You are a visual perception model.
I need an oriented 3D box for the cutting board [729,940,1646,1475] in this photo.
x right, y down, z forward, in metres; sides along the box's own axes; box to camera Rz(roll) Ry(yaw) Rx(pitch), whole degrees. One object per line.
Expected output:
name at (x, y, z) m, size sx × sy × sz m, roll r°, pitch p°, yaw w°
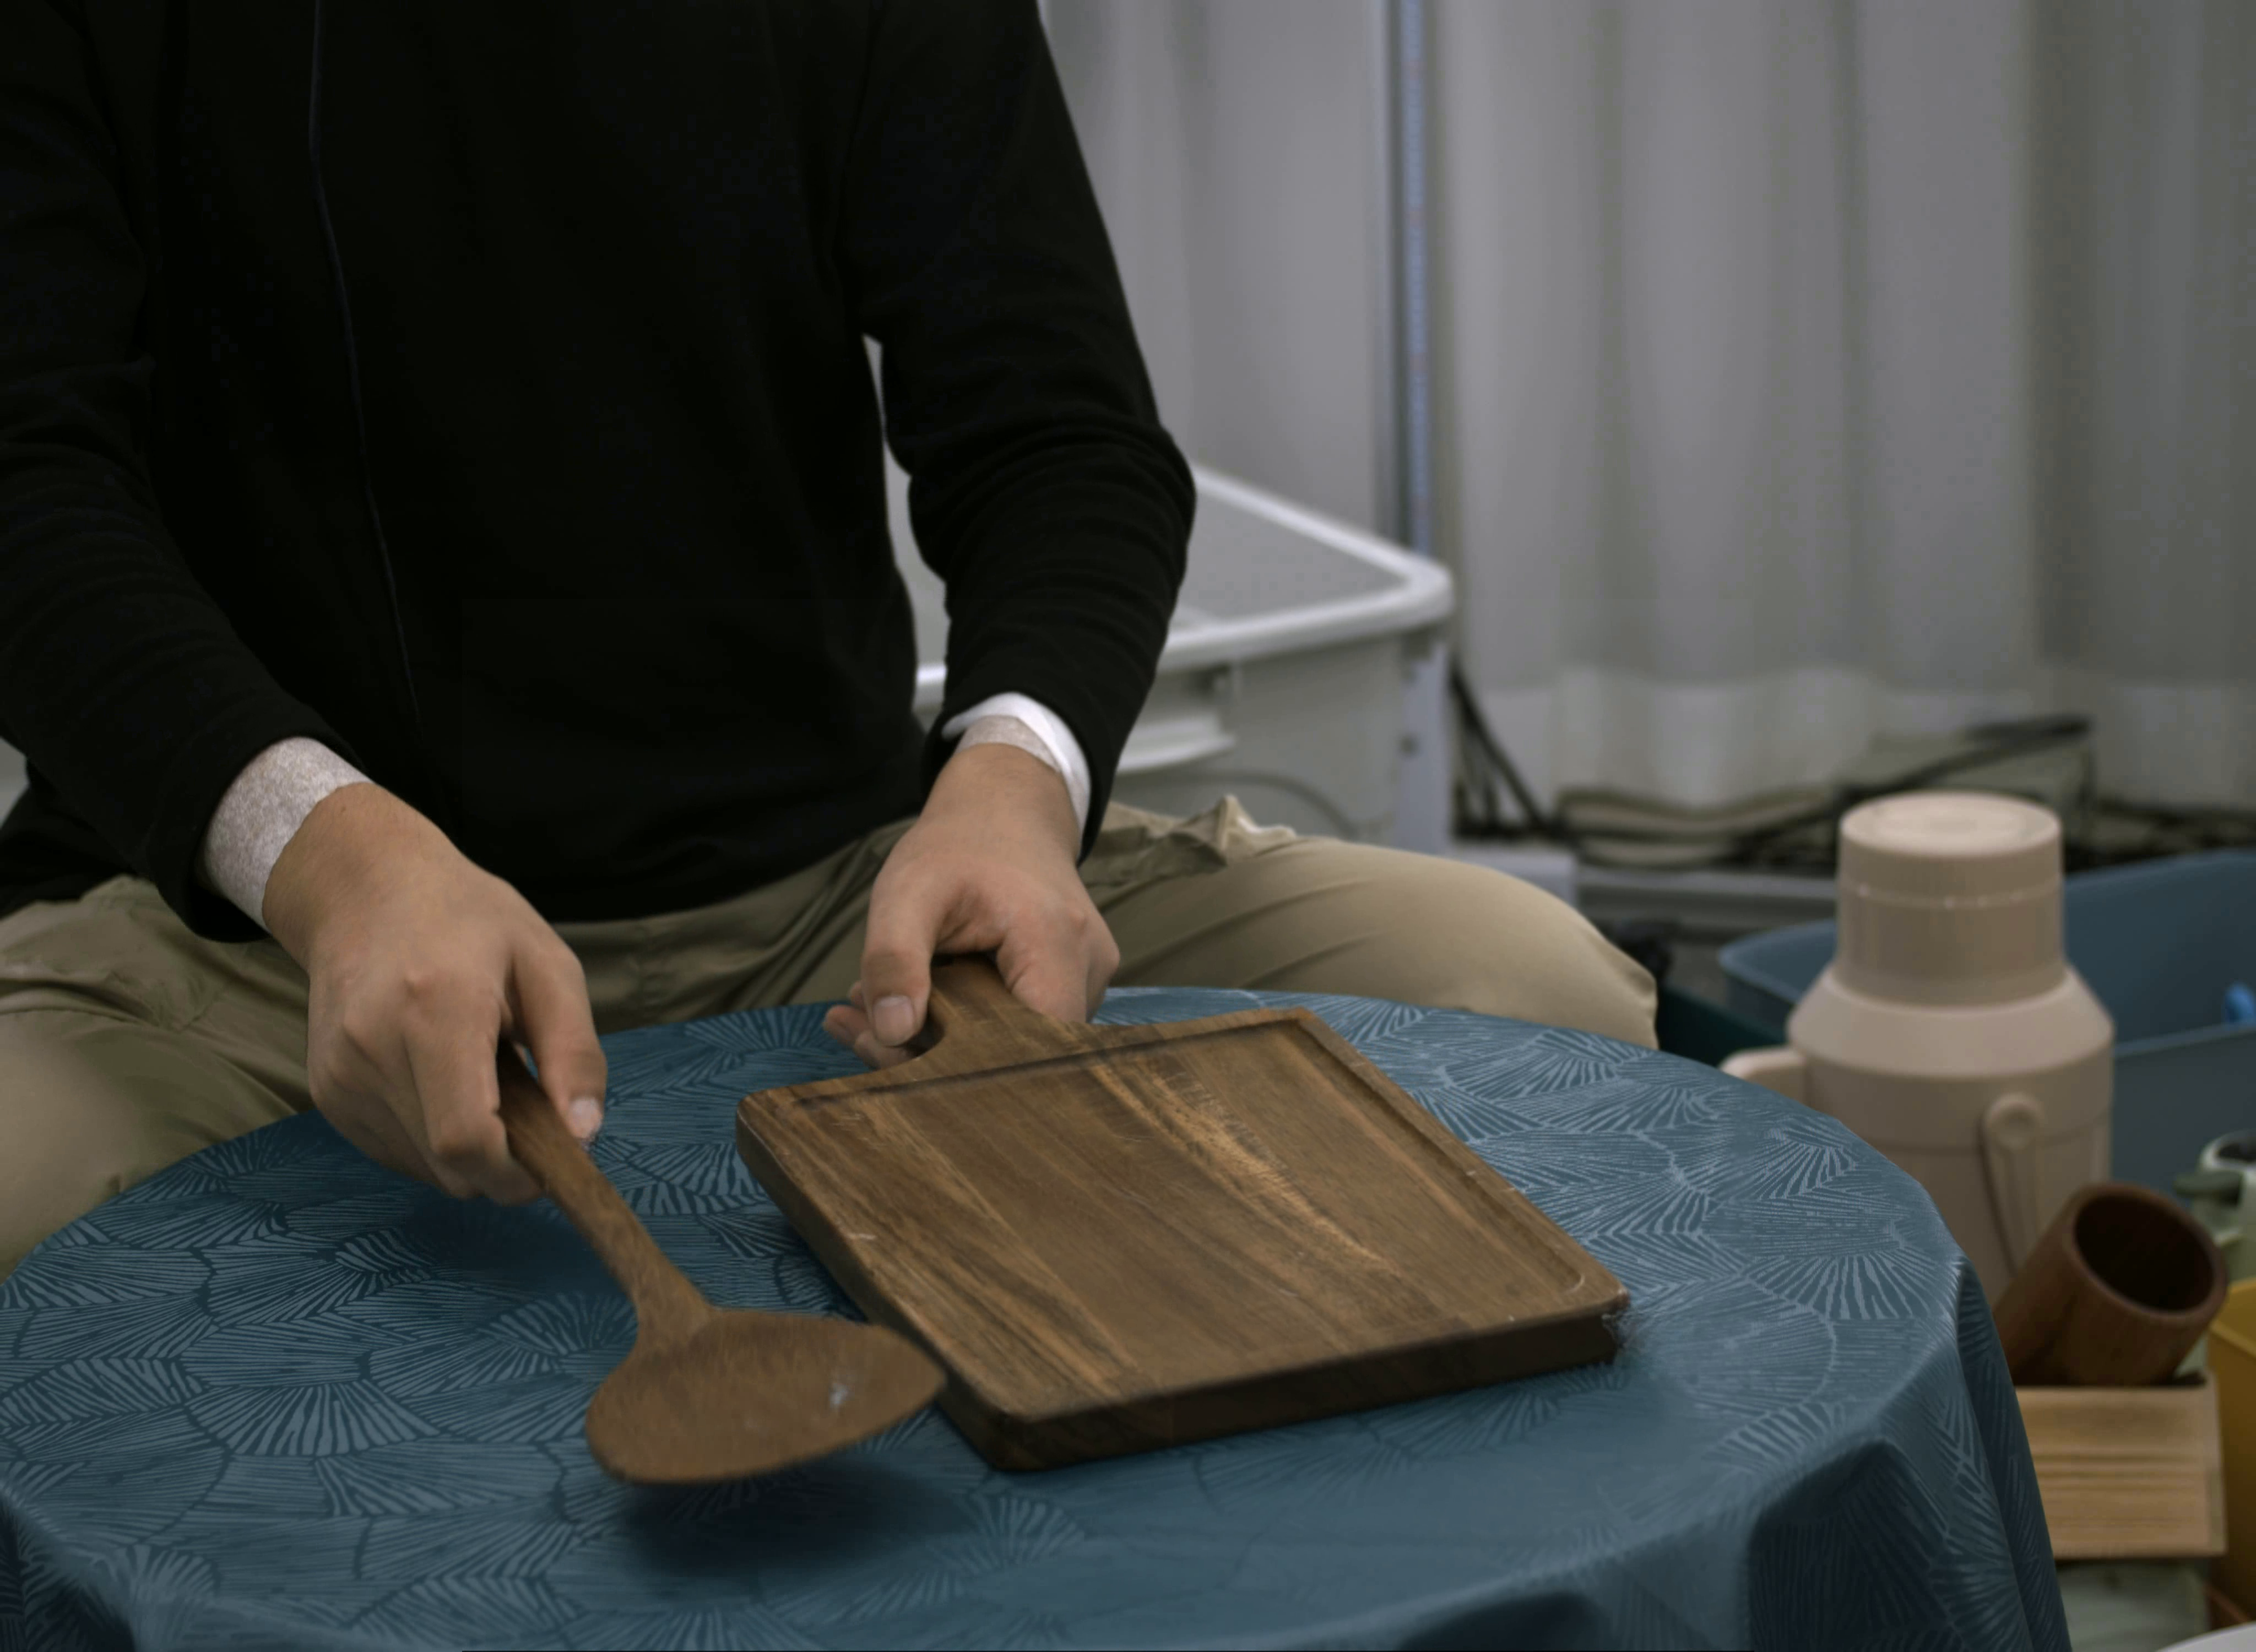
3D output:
cutting board at (-0.006, 0.101, 1.667) m, size 0.200 × 0.023 × 0.355 m, roll -9°, pitch 21°, yaw -20°

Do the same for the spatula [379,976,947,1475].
spatula at (-0.158, 0.107, 1.597) m, size 0.096 × 0.015 × 0.390 m, roll -16°, pitch 23°, yaw -18°
